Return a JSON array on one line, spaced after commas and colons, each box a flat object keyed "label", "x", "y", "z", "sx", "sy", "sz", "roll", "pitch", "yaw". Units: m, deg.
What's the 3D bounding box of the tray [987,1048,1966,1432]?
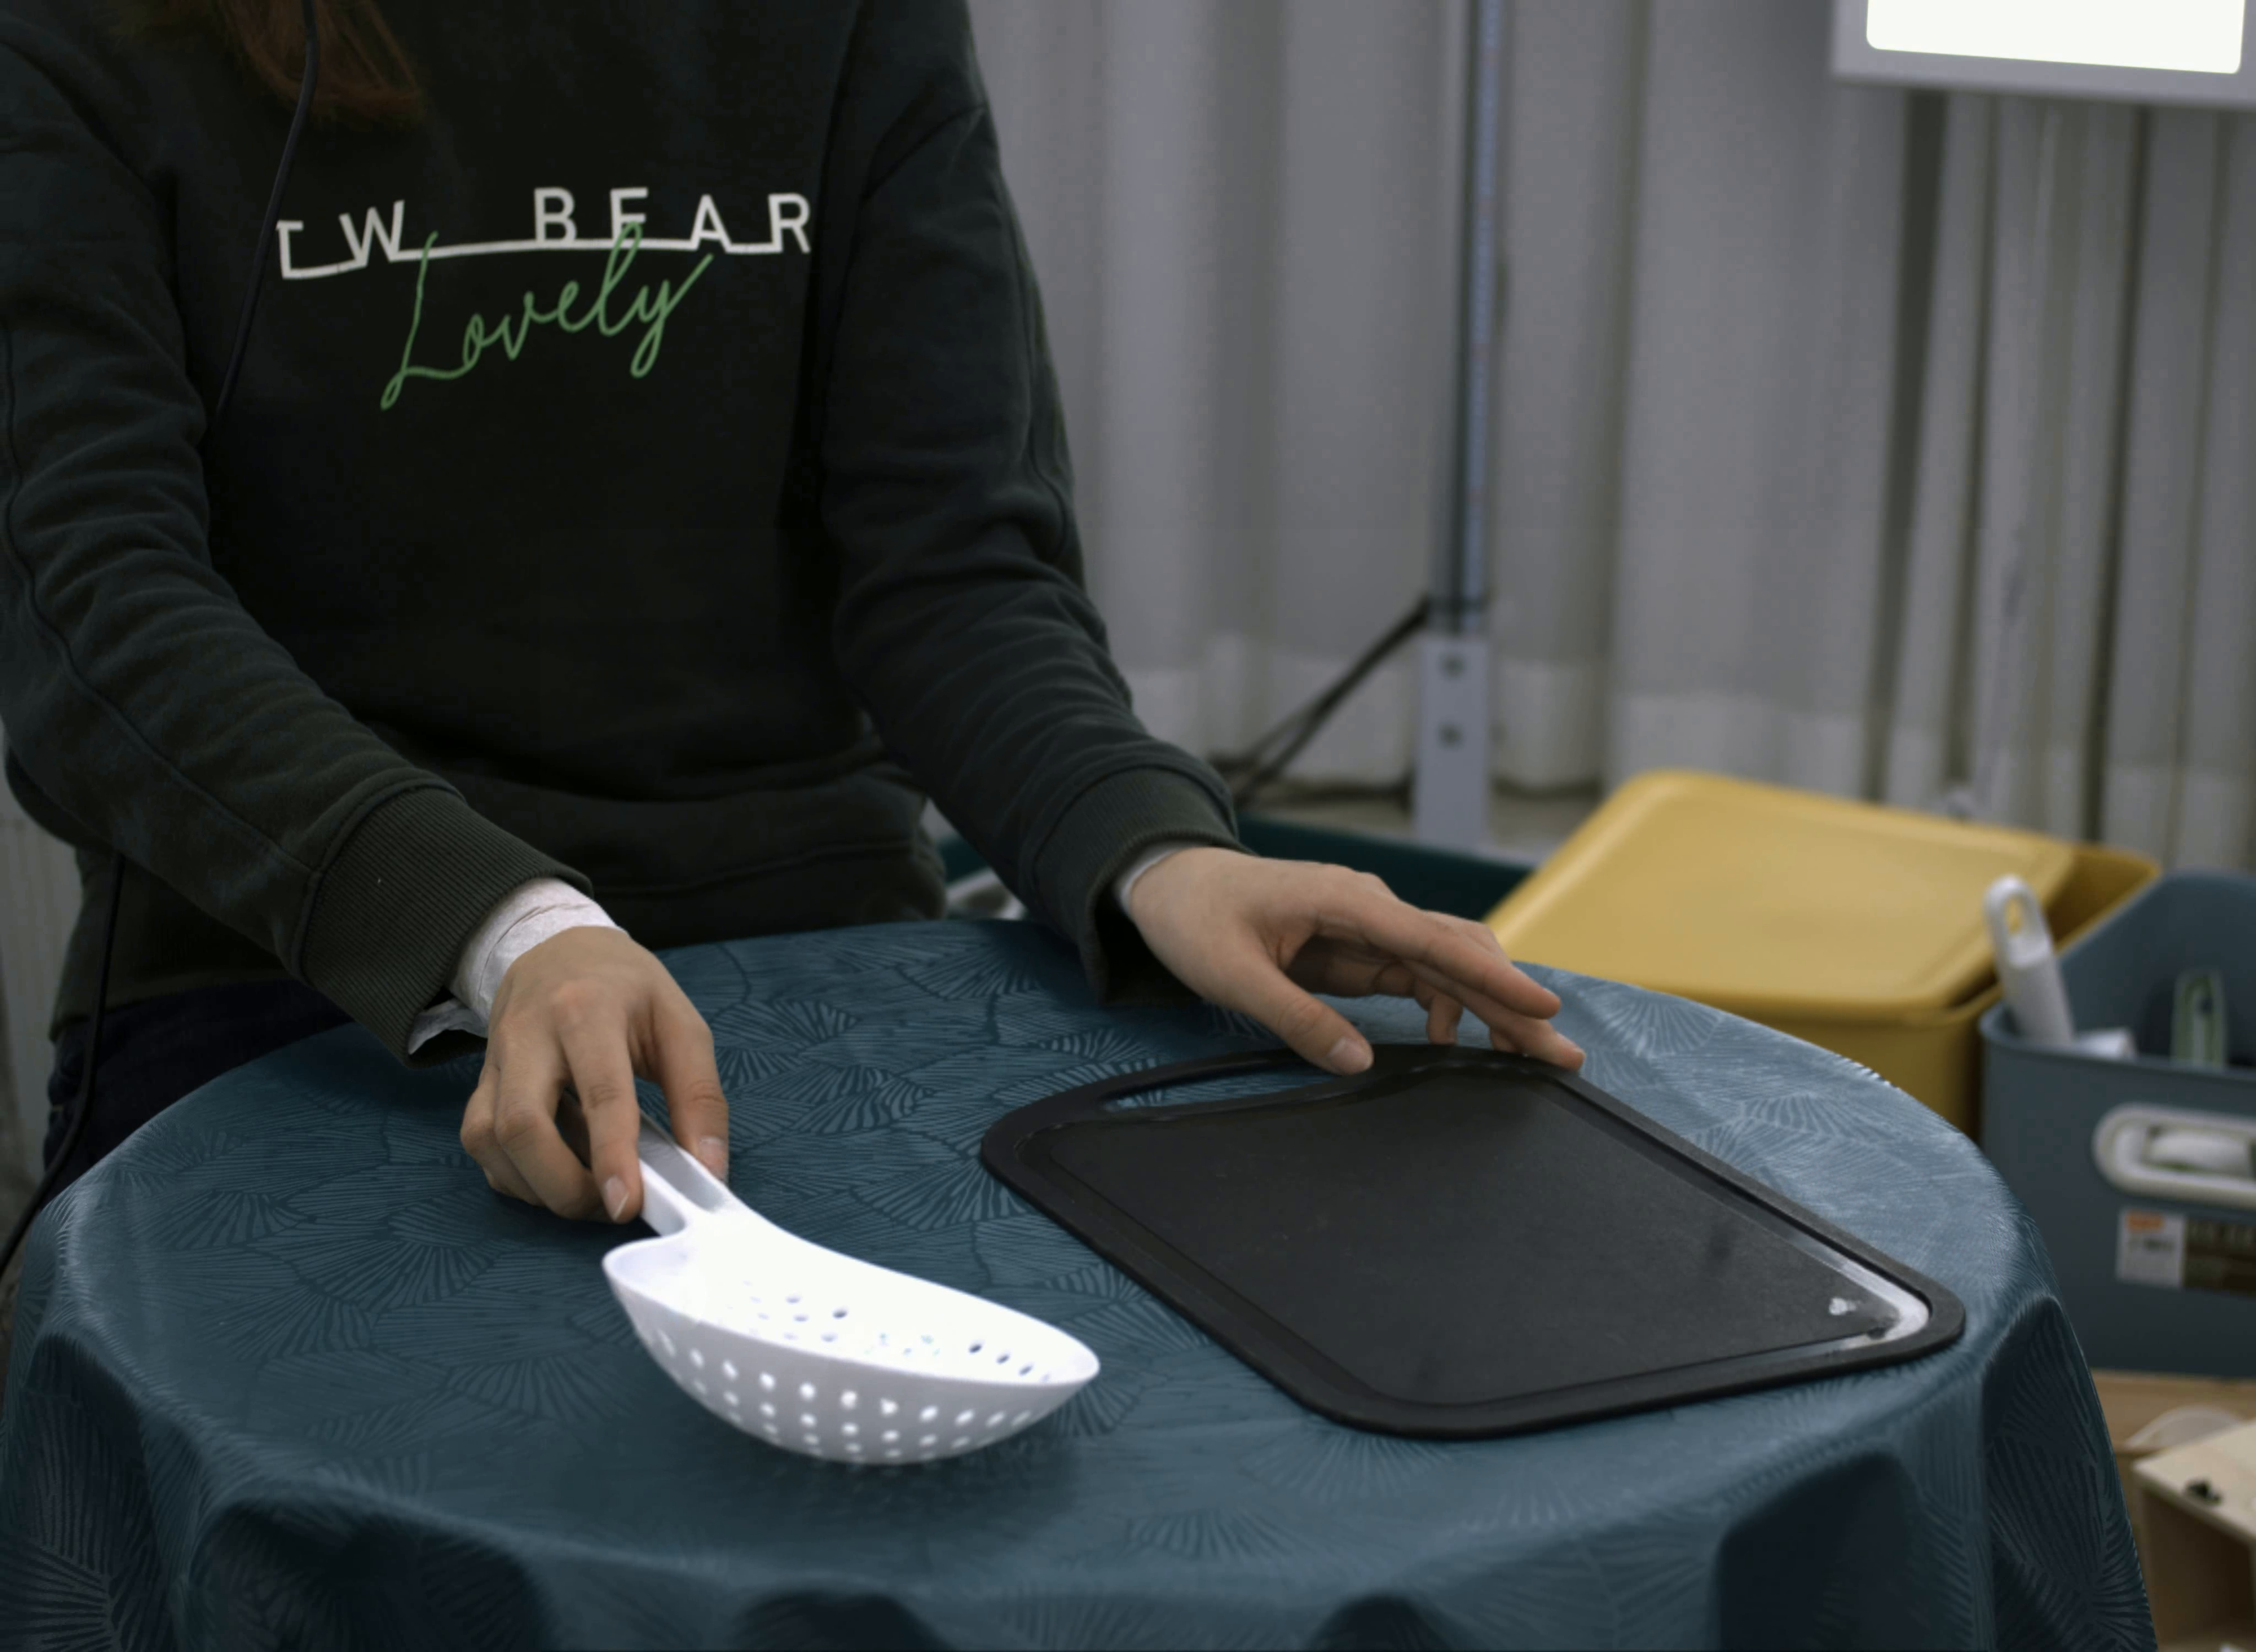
[{"label": "tray", "x": 0.094, "y": 0.117, "z": 1.599, "sx": 0.212, "sy": 0.010, "sz": 0.321, "roll": -7, "pitch": 17, "yaw": -24}]

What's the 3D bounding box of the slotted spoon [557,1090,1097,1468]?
[{"label": "slotted spoon", "x": -0.112, "y": 0.120, "z": 1.507, "sx": 0.137, "sy": 0.046, "sz": 0.346, "roll": 13, "pitch": 10, "yaw": -22}]
